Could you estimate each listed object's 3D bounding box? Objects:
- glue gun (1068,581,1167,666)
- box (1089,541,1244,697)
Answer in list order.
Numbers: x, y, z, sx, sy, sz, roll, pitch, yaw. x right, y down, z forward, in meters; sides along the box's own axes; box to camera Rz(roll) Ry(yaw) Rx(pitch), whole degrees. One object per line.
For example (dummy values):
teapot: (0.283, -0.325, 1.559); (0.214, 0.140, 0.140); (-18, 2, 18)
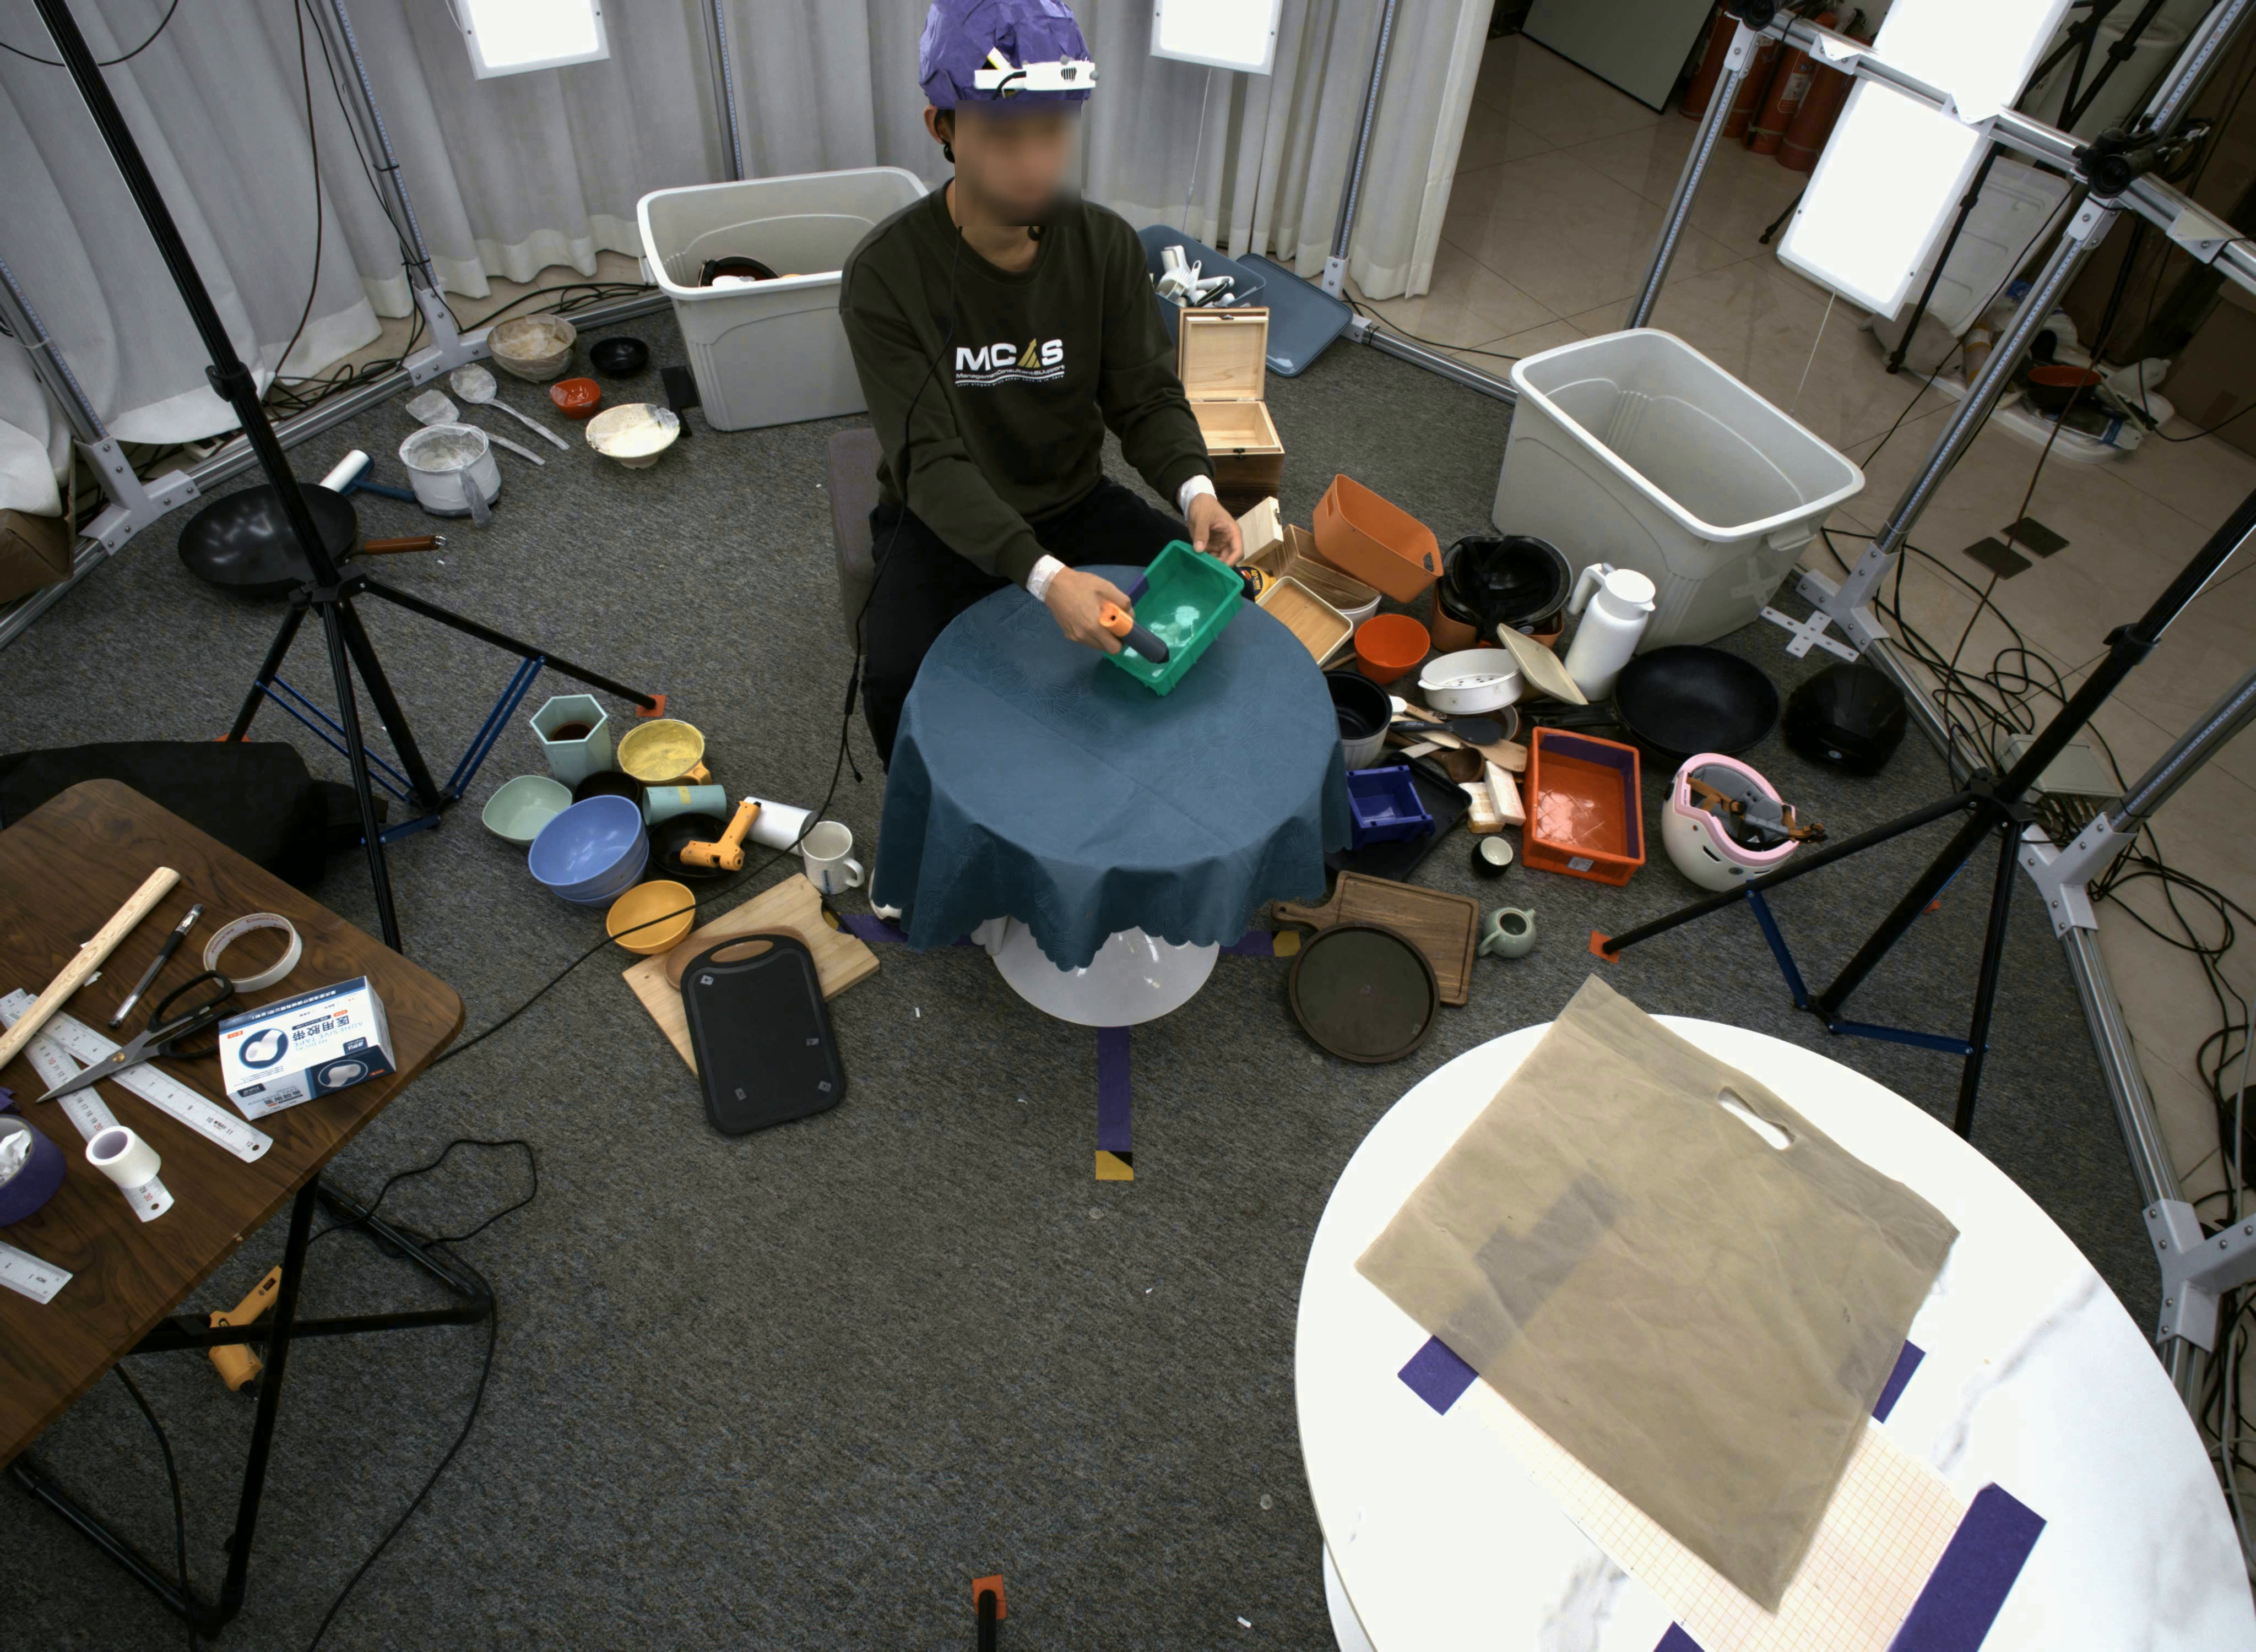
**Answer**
glue gun: (-0.013, -0.278, 1.771); (0.041, 0.116, 0.142); (-50, 54, 0)
box: (0.060, -0.292, 1.837); (0.140, 0.064, 0.211); (34, 79, 26)
